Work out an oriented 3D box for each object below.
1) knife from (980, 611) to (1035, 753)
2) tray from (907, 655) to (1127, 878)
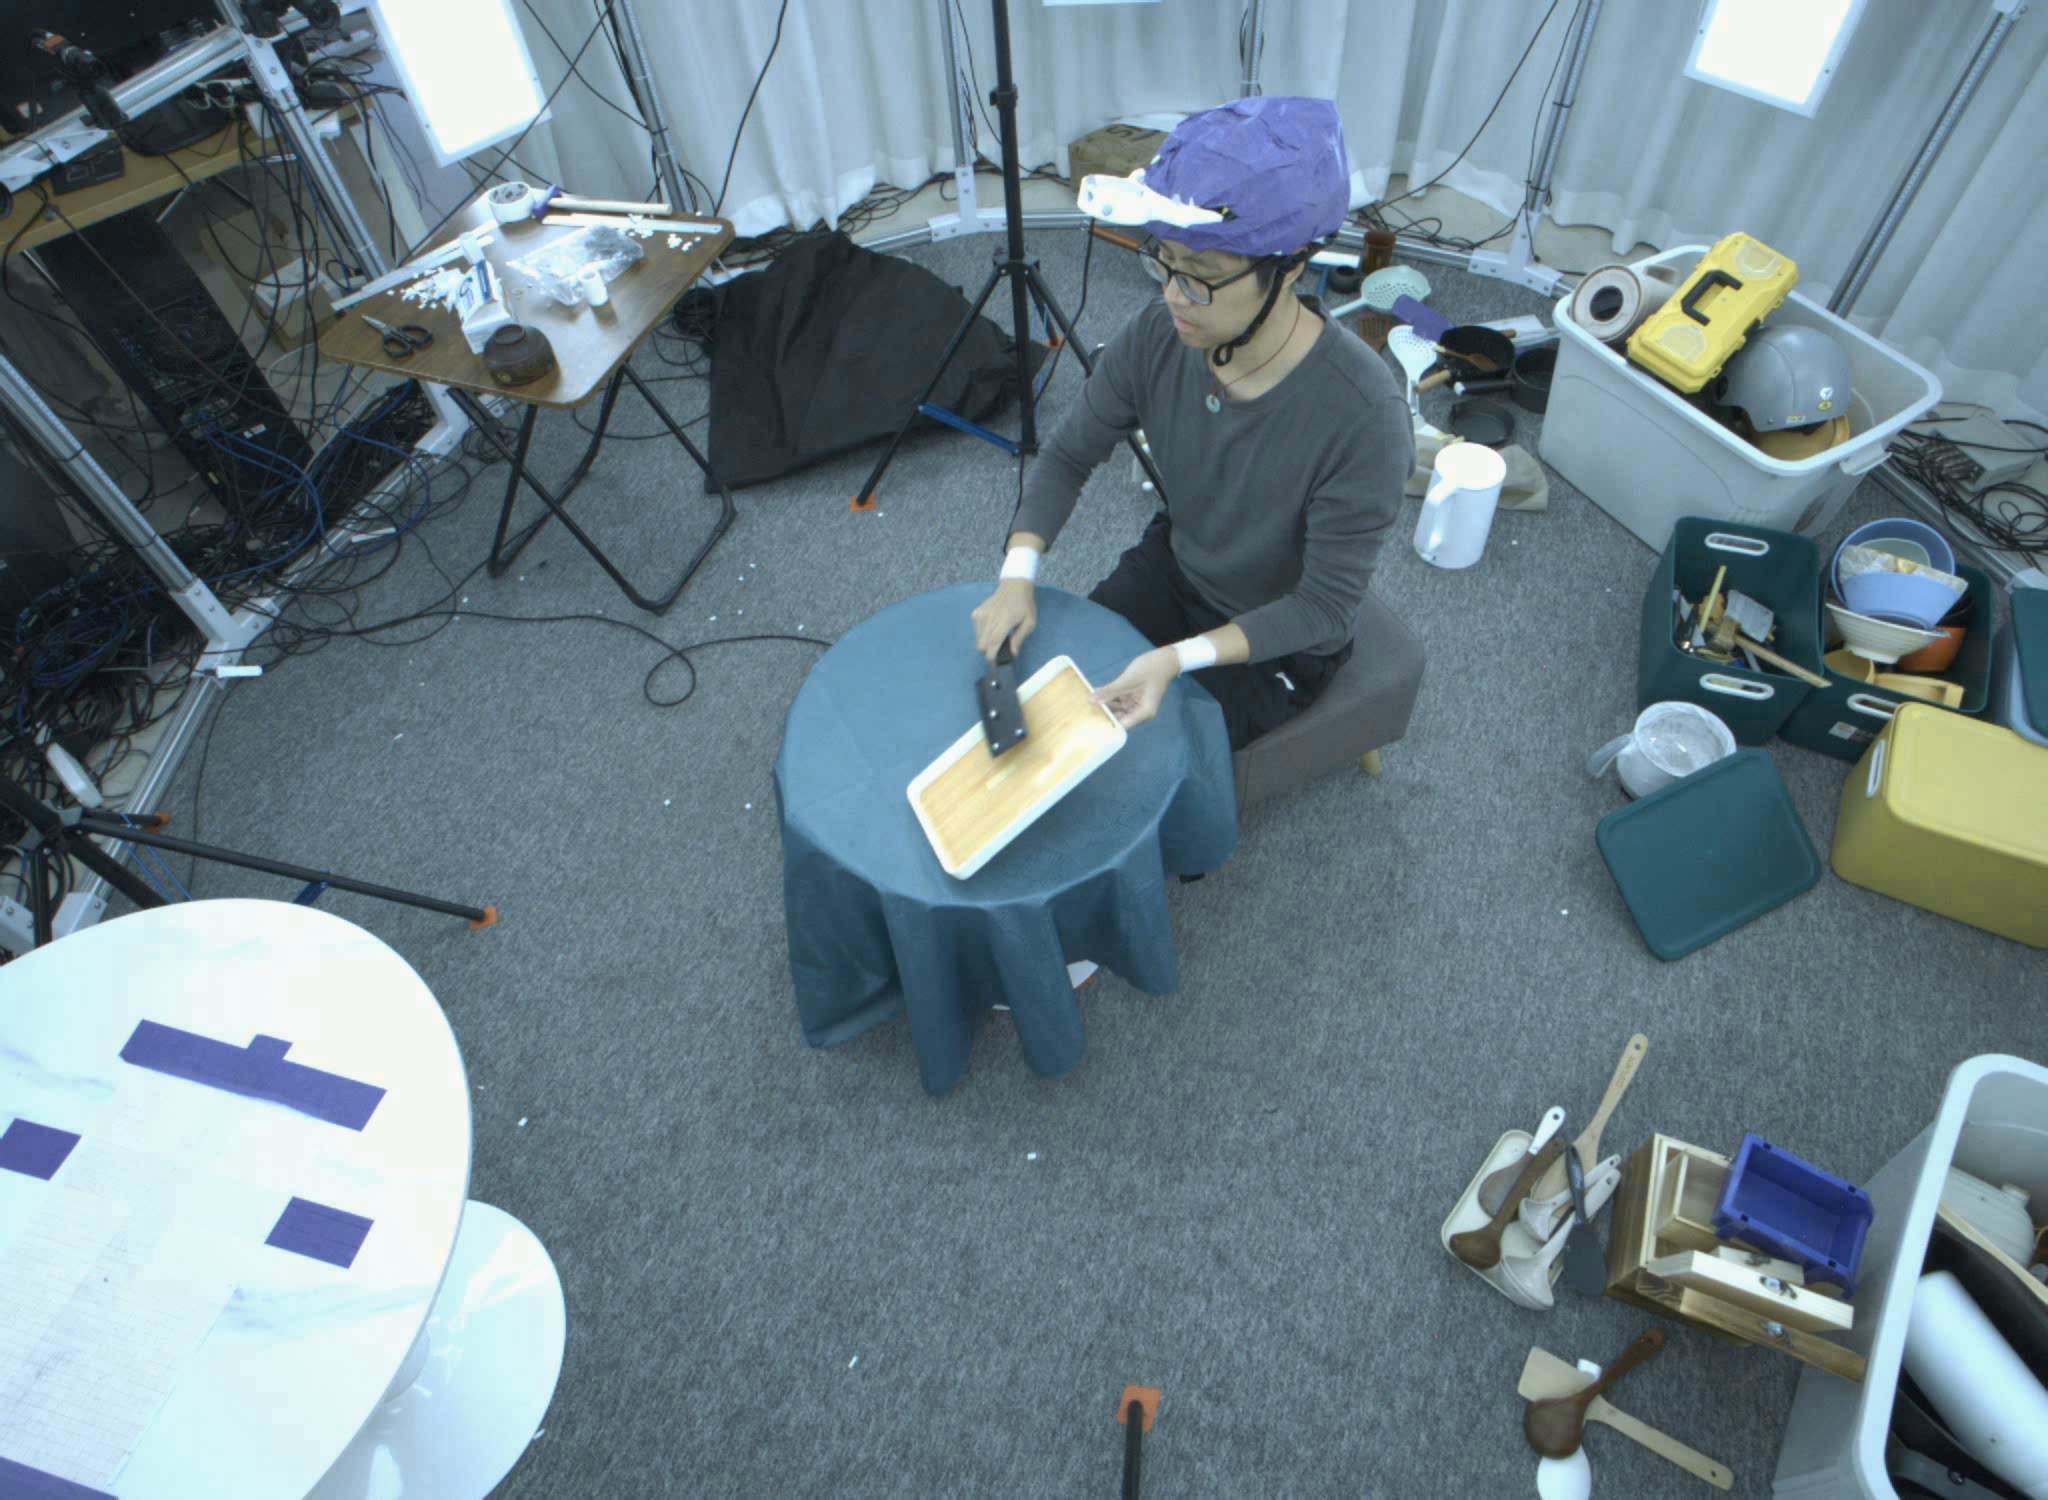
[{"bbox_3d":[-0.032,-0.105,1.753,0.080,0.021,0.298,-30,39,19],"label":"knife"},{"bbox_3d":[-0.015,0.020,1.666,0.299,0.028,0.187,-40,46,7],"label":"tray"}]
